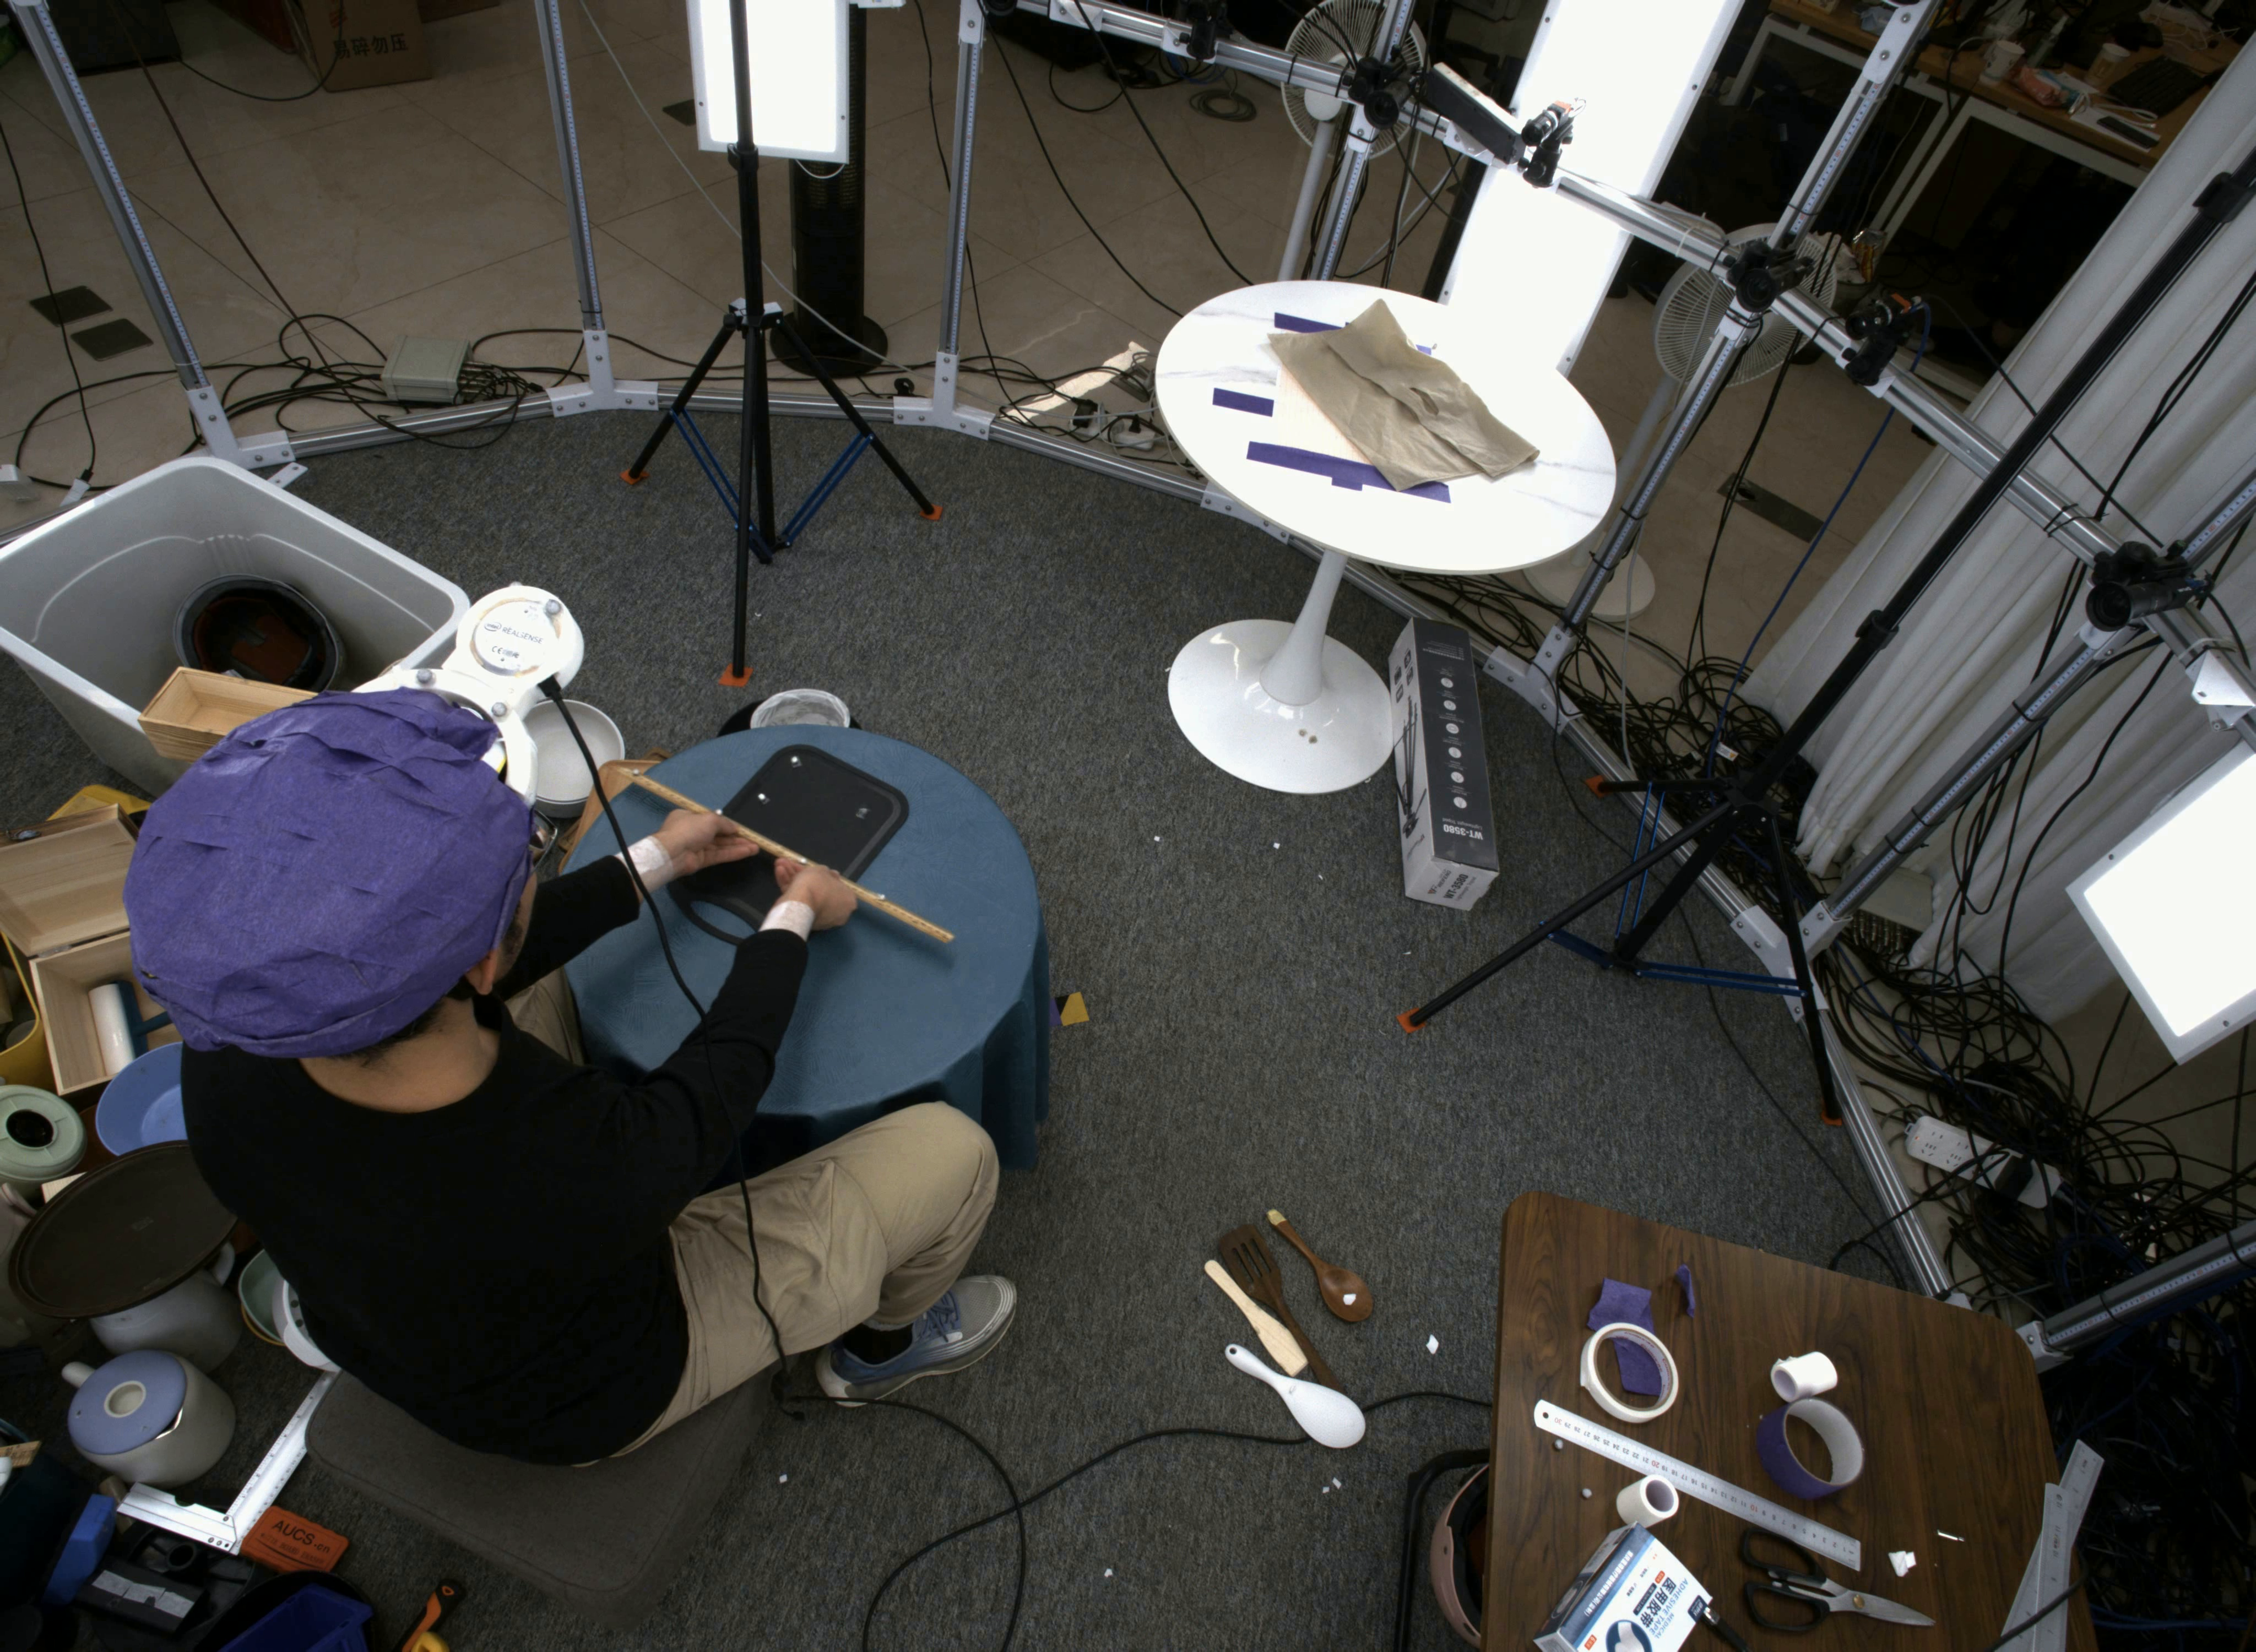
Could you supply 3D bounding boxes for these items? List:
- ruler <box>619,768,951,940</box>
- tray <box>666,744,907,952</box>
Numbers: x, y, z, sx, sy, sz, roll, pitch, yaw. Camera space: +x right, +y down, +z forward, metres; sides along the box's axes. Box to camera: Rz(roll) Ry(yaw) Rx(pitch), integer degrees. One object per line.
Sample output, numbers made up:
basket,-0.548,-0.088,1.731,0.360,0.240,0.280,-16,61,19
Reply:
ruler,-0.445,0.031,1.651,0.492,0.006,0.027,25,20,7
tray,-0.445,0.024,1.690,0.208,0.010,0.324,28,52,7
